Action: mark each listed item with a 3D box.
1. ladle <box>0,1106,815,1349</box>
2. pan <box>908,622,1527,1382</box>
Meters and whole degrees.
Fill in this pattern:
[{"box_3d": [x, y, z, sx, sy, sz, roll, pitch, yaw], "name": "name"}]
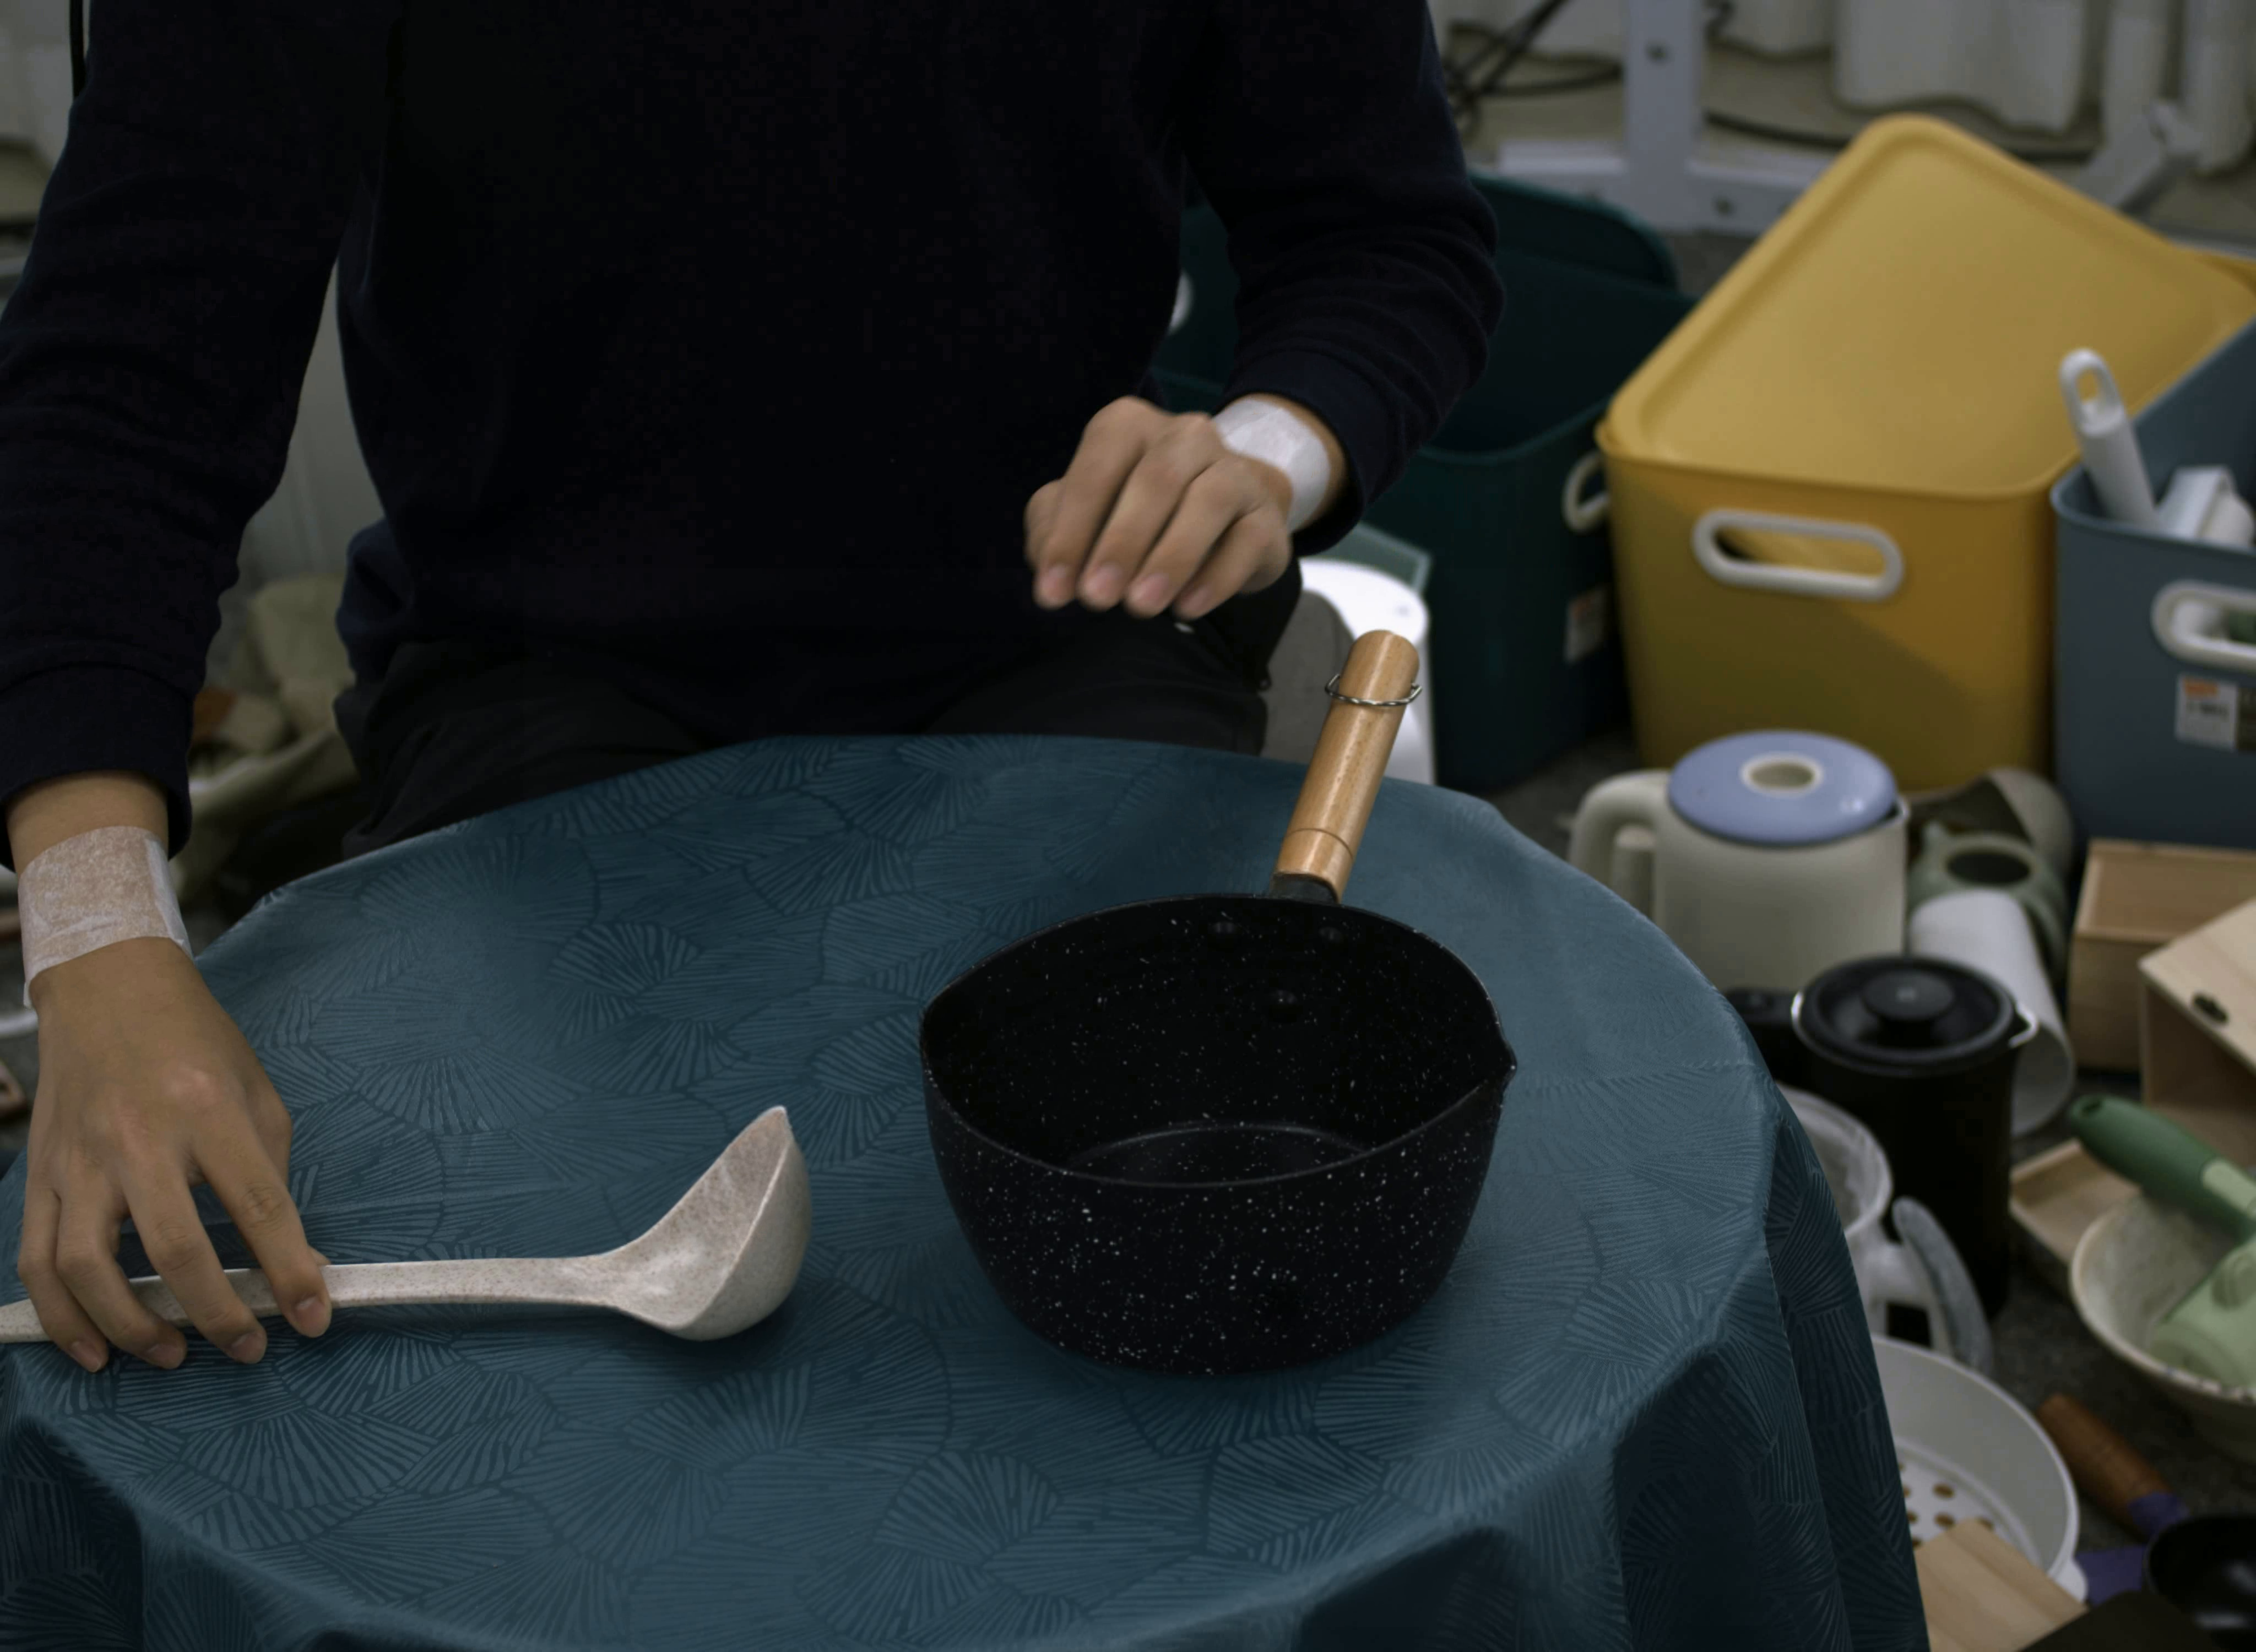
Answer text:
[{"box_3d": [-0.236, 0.132, 1.795, 0.273, 0.068, 0.091, -2, 36, 2], "name": "ladle"}, {"box_3d": [0.047, 0.055, 1.871, 0.206, 0.107, 0.349, 3, 29, 14], "name": "pan"}]
